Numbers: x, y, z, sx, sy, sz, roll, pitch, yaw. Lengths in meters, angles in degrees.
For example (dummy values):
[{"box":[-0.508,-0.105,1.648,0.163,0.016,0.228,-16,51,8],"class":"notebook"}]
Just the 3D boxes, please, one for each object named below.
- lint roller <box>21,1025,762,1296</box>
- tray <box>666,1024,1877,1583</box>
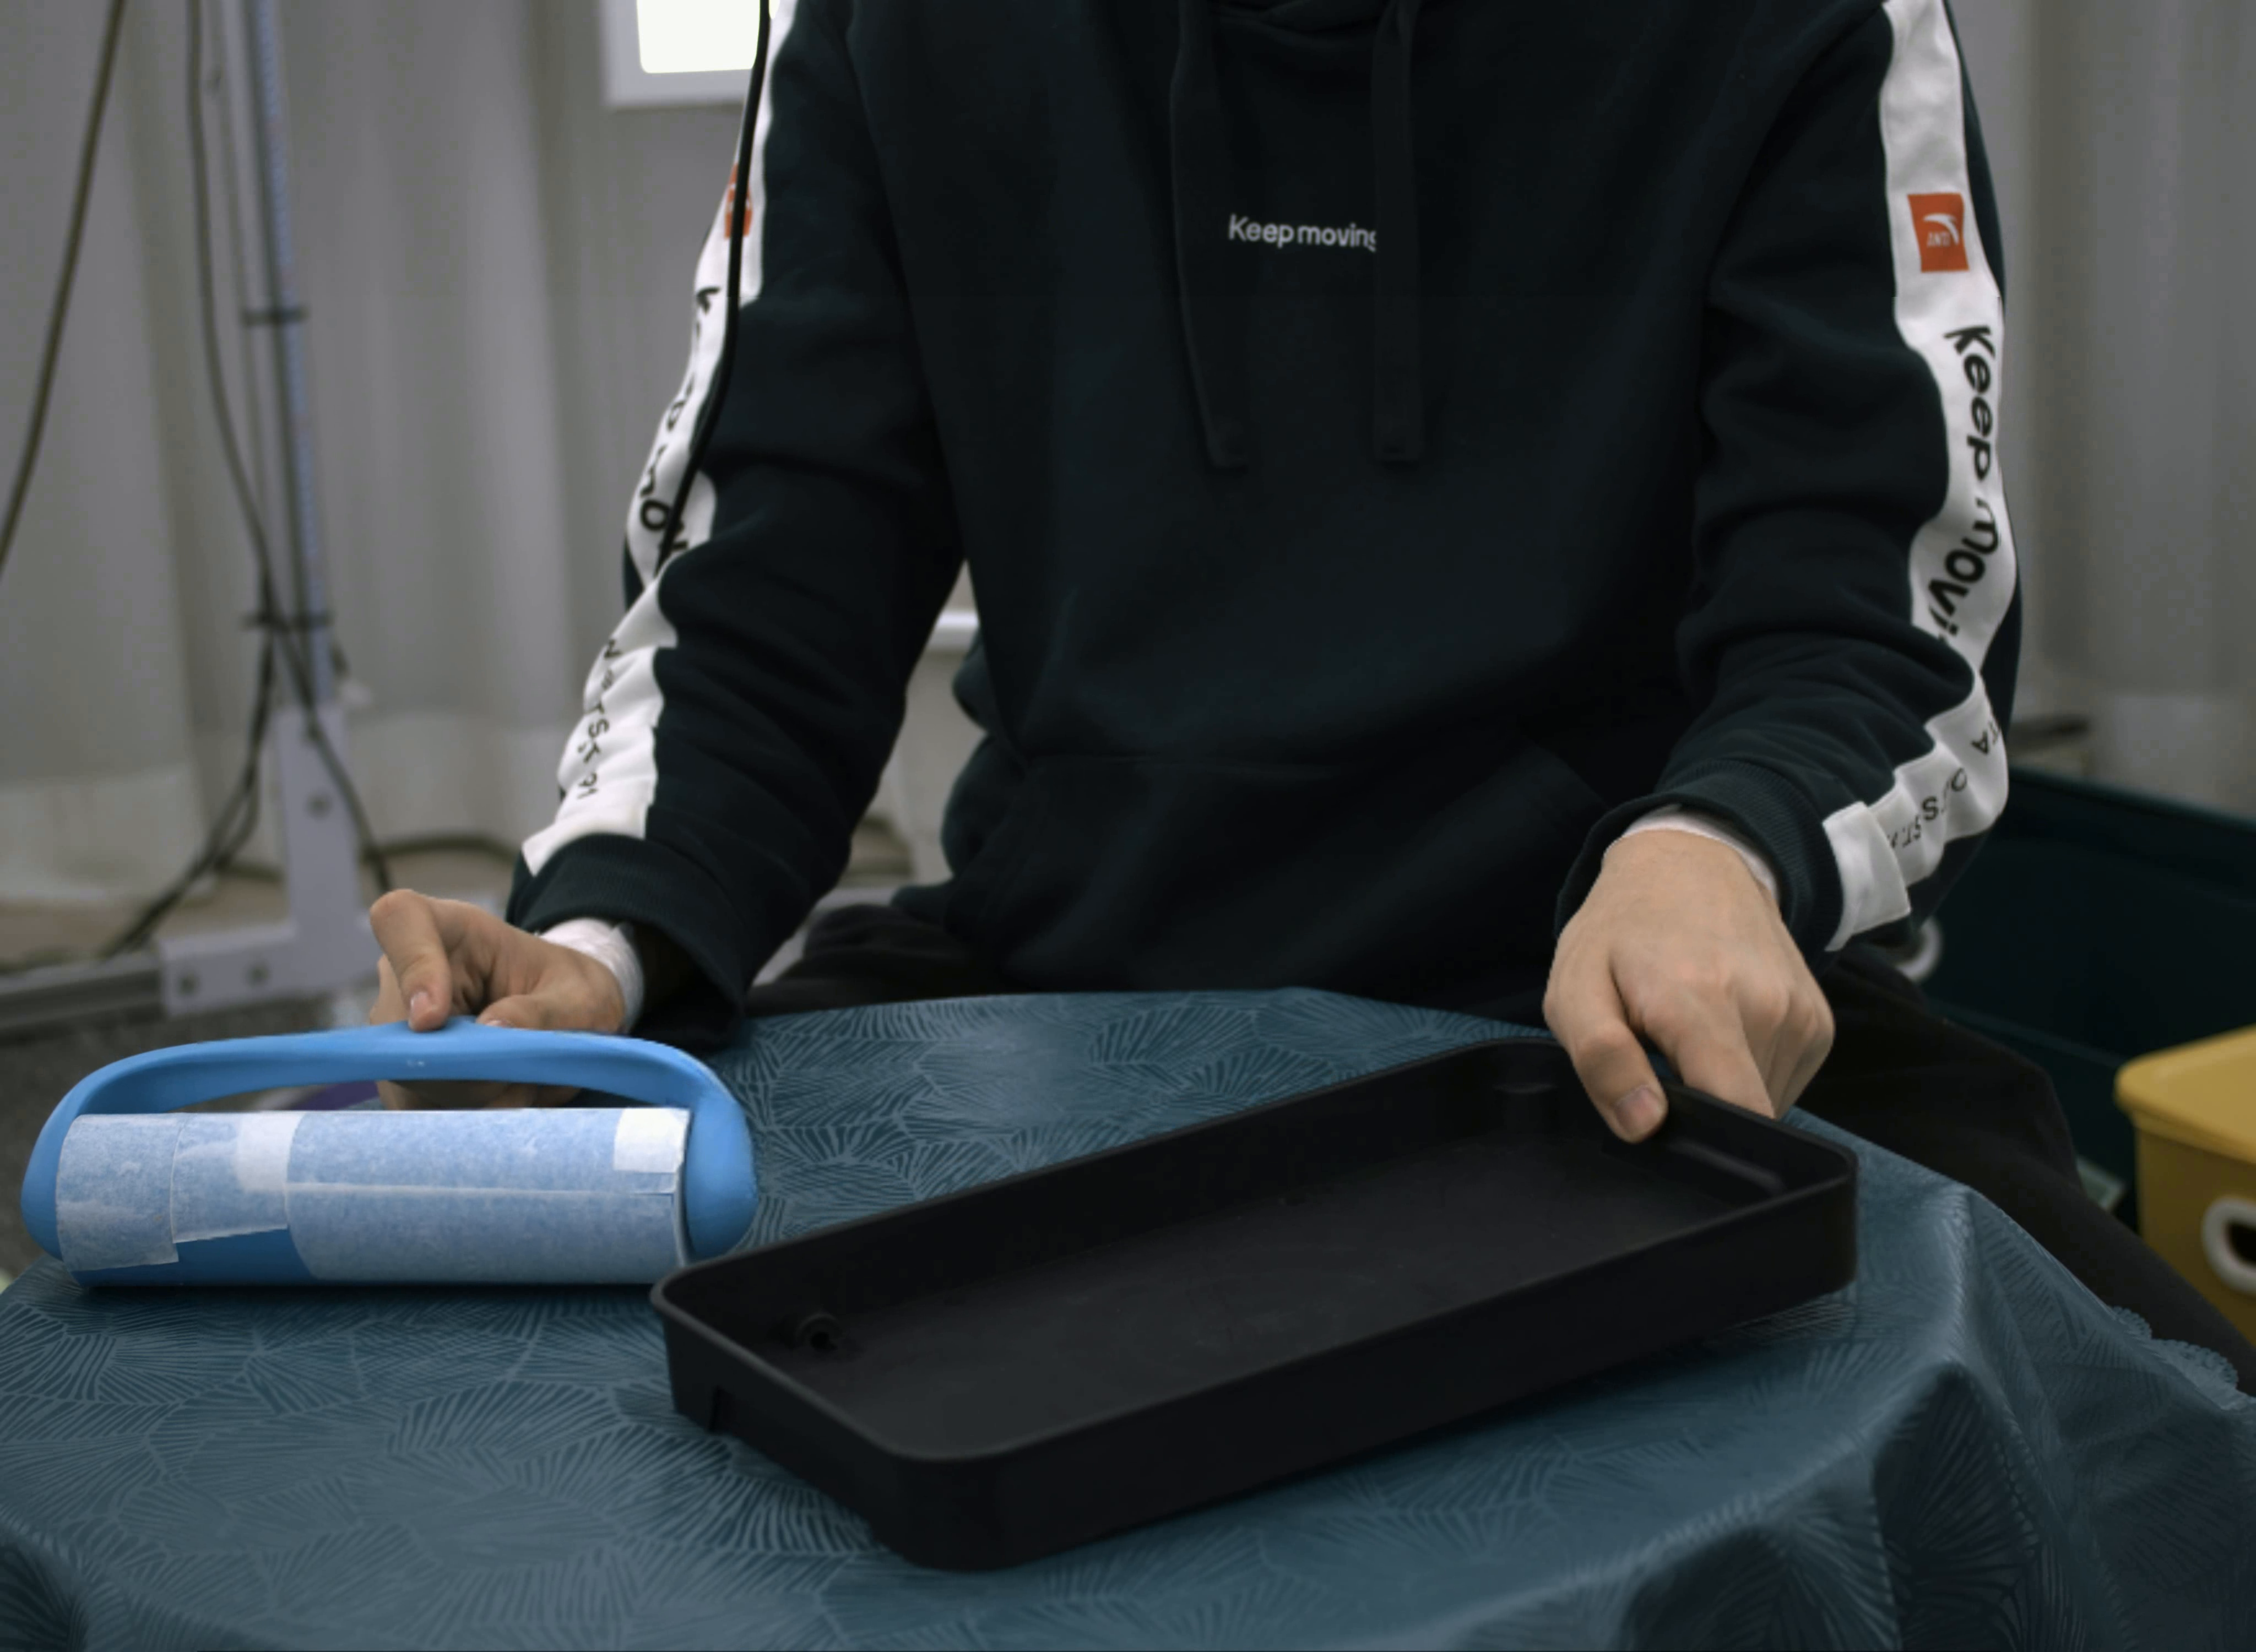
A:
[{"box":[-0.219,0.093,1.715,0.228,0.067,0.181,-4,19,6],"class":"lint roller"},{"box":[0.043,0.130,1.559,0.317,0.037,0.185,-16,19,-29],"class":"tray"}]
